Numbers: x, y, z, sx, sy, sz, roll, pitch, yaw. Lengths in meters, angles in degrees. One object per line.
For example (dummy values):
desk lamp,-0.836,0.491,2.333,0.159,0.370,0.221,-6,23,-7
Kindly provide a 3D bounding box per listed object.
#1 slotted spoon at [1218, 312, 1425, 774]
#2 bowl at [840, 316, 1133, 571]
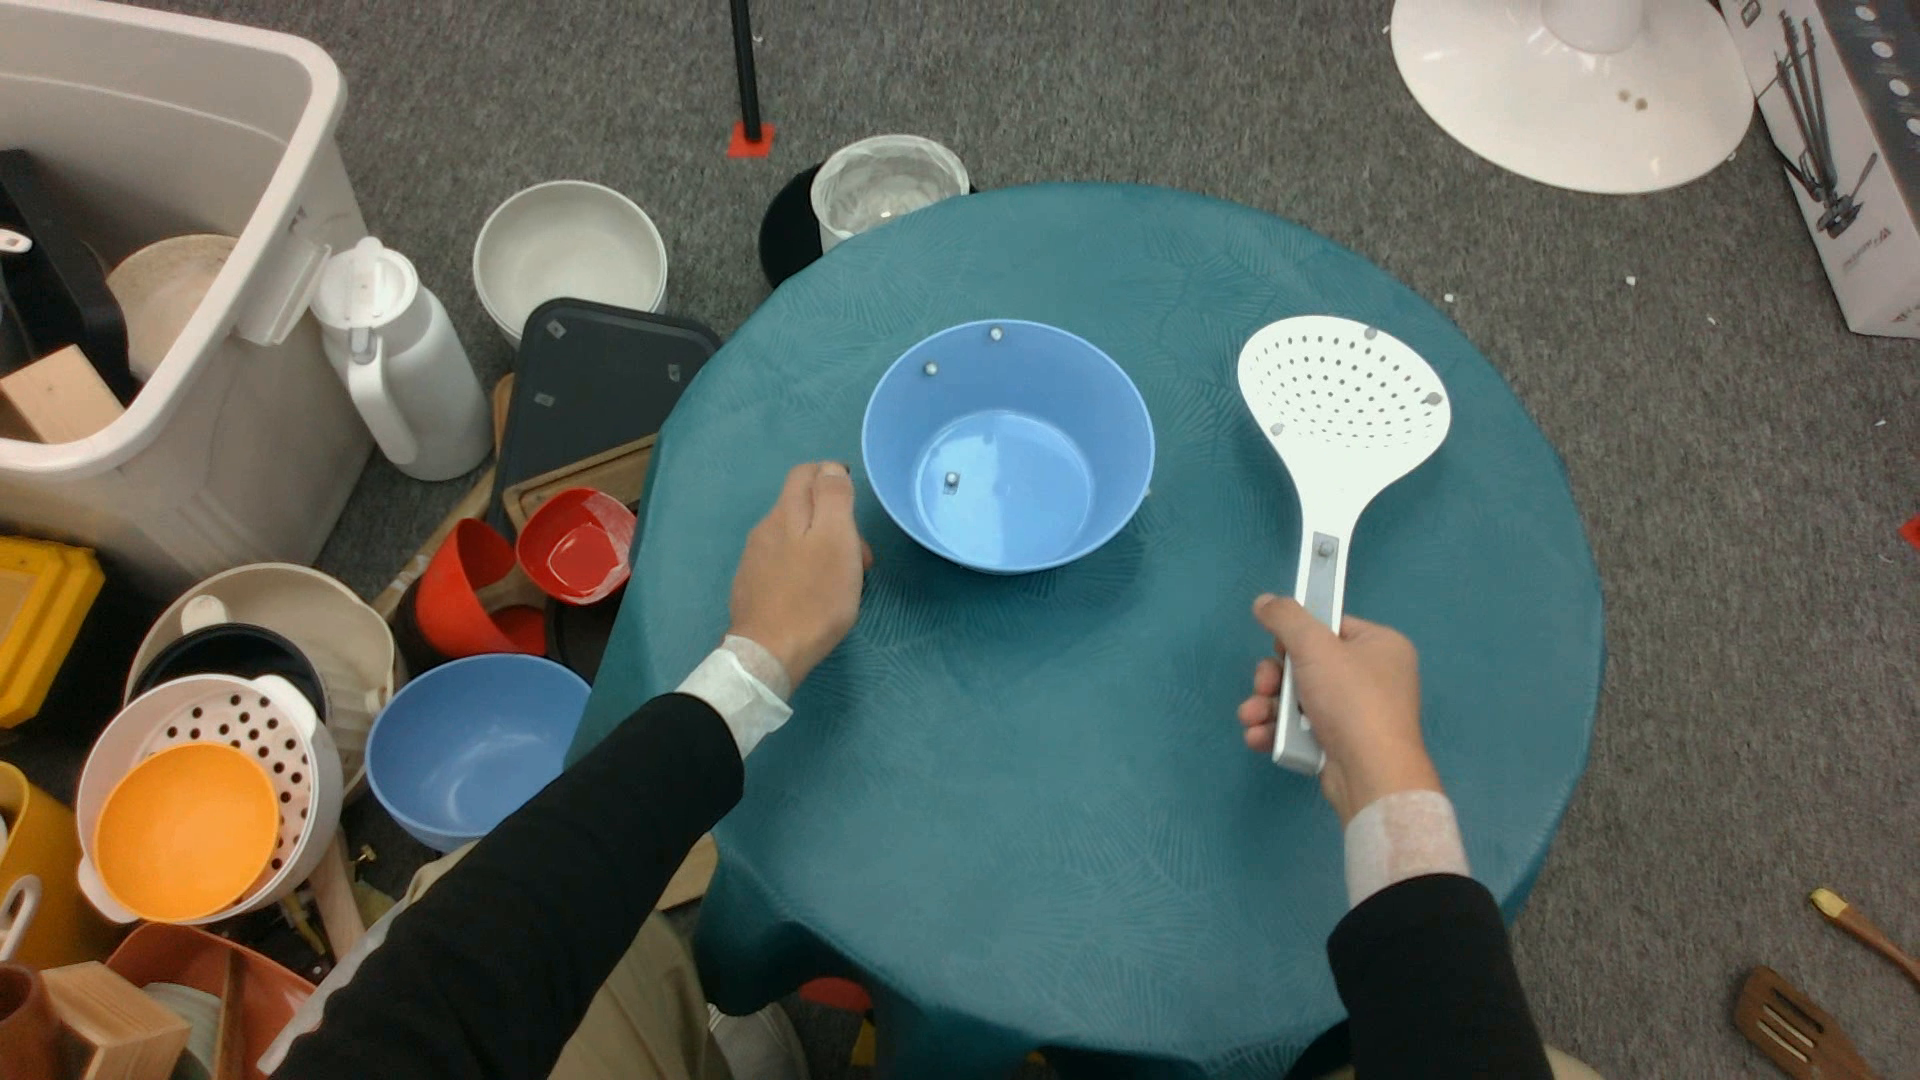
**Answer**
slotted spoon,0.205,-0.013,0.822,0.136,0.045,0.351,15,47,3
bowl,0.015,-0.048,0.848,0.176,0.070,0.177,2,63,-3
